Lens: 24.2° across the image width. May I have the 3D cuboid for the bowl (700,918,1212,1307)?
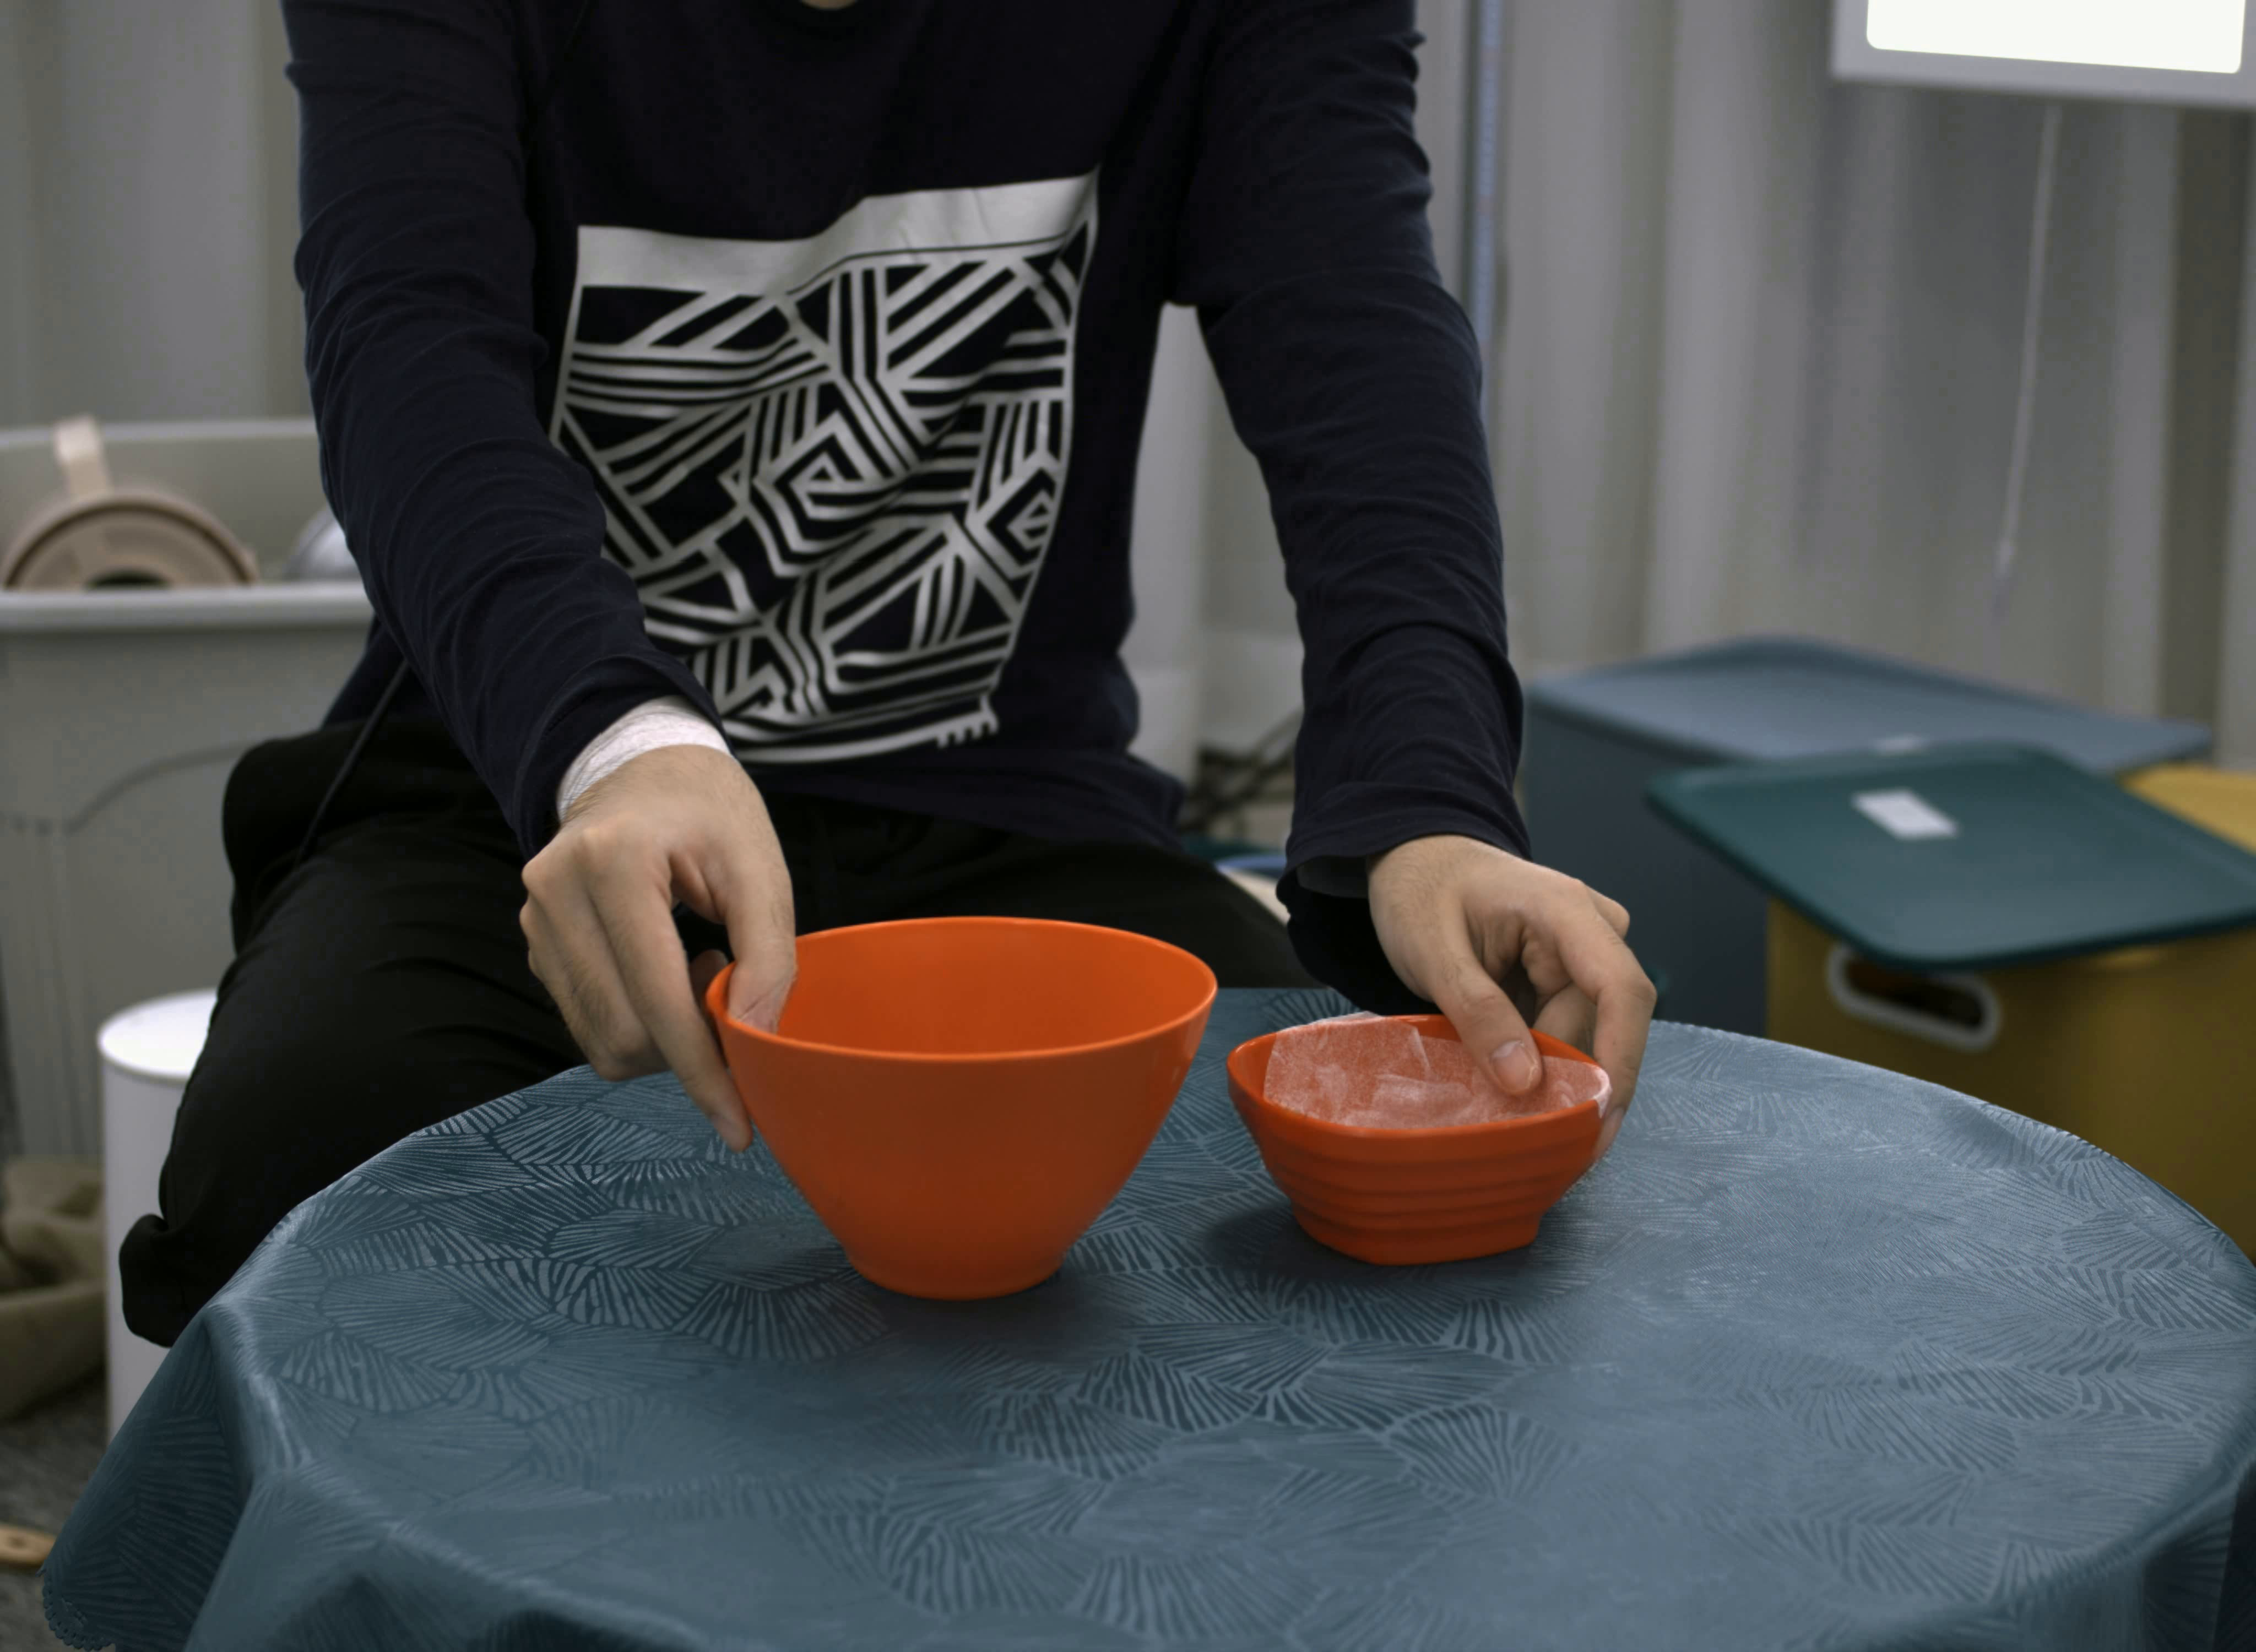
[{"bbox_3d":[-0.050,0.084,1.528,0.147,0.106,0.147,1,24,0],"label":"bowl"}]

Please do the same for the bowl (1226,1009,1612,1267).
[{"bbox_3d":[0.087,0.096,1.590,0.118,0.052,0.118,-1,16,1],"label":"bowl"}]
